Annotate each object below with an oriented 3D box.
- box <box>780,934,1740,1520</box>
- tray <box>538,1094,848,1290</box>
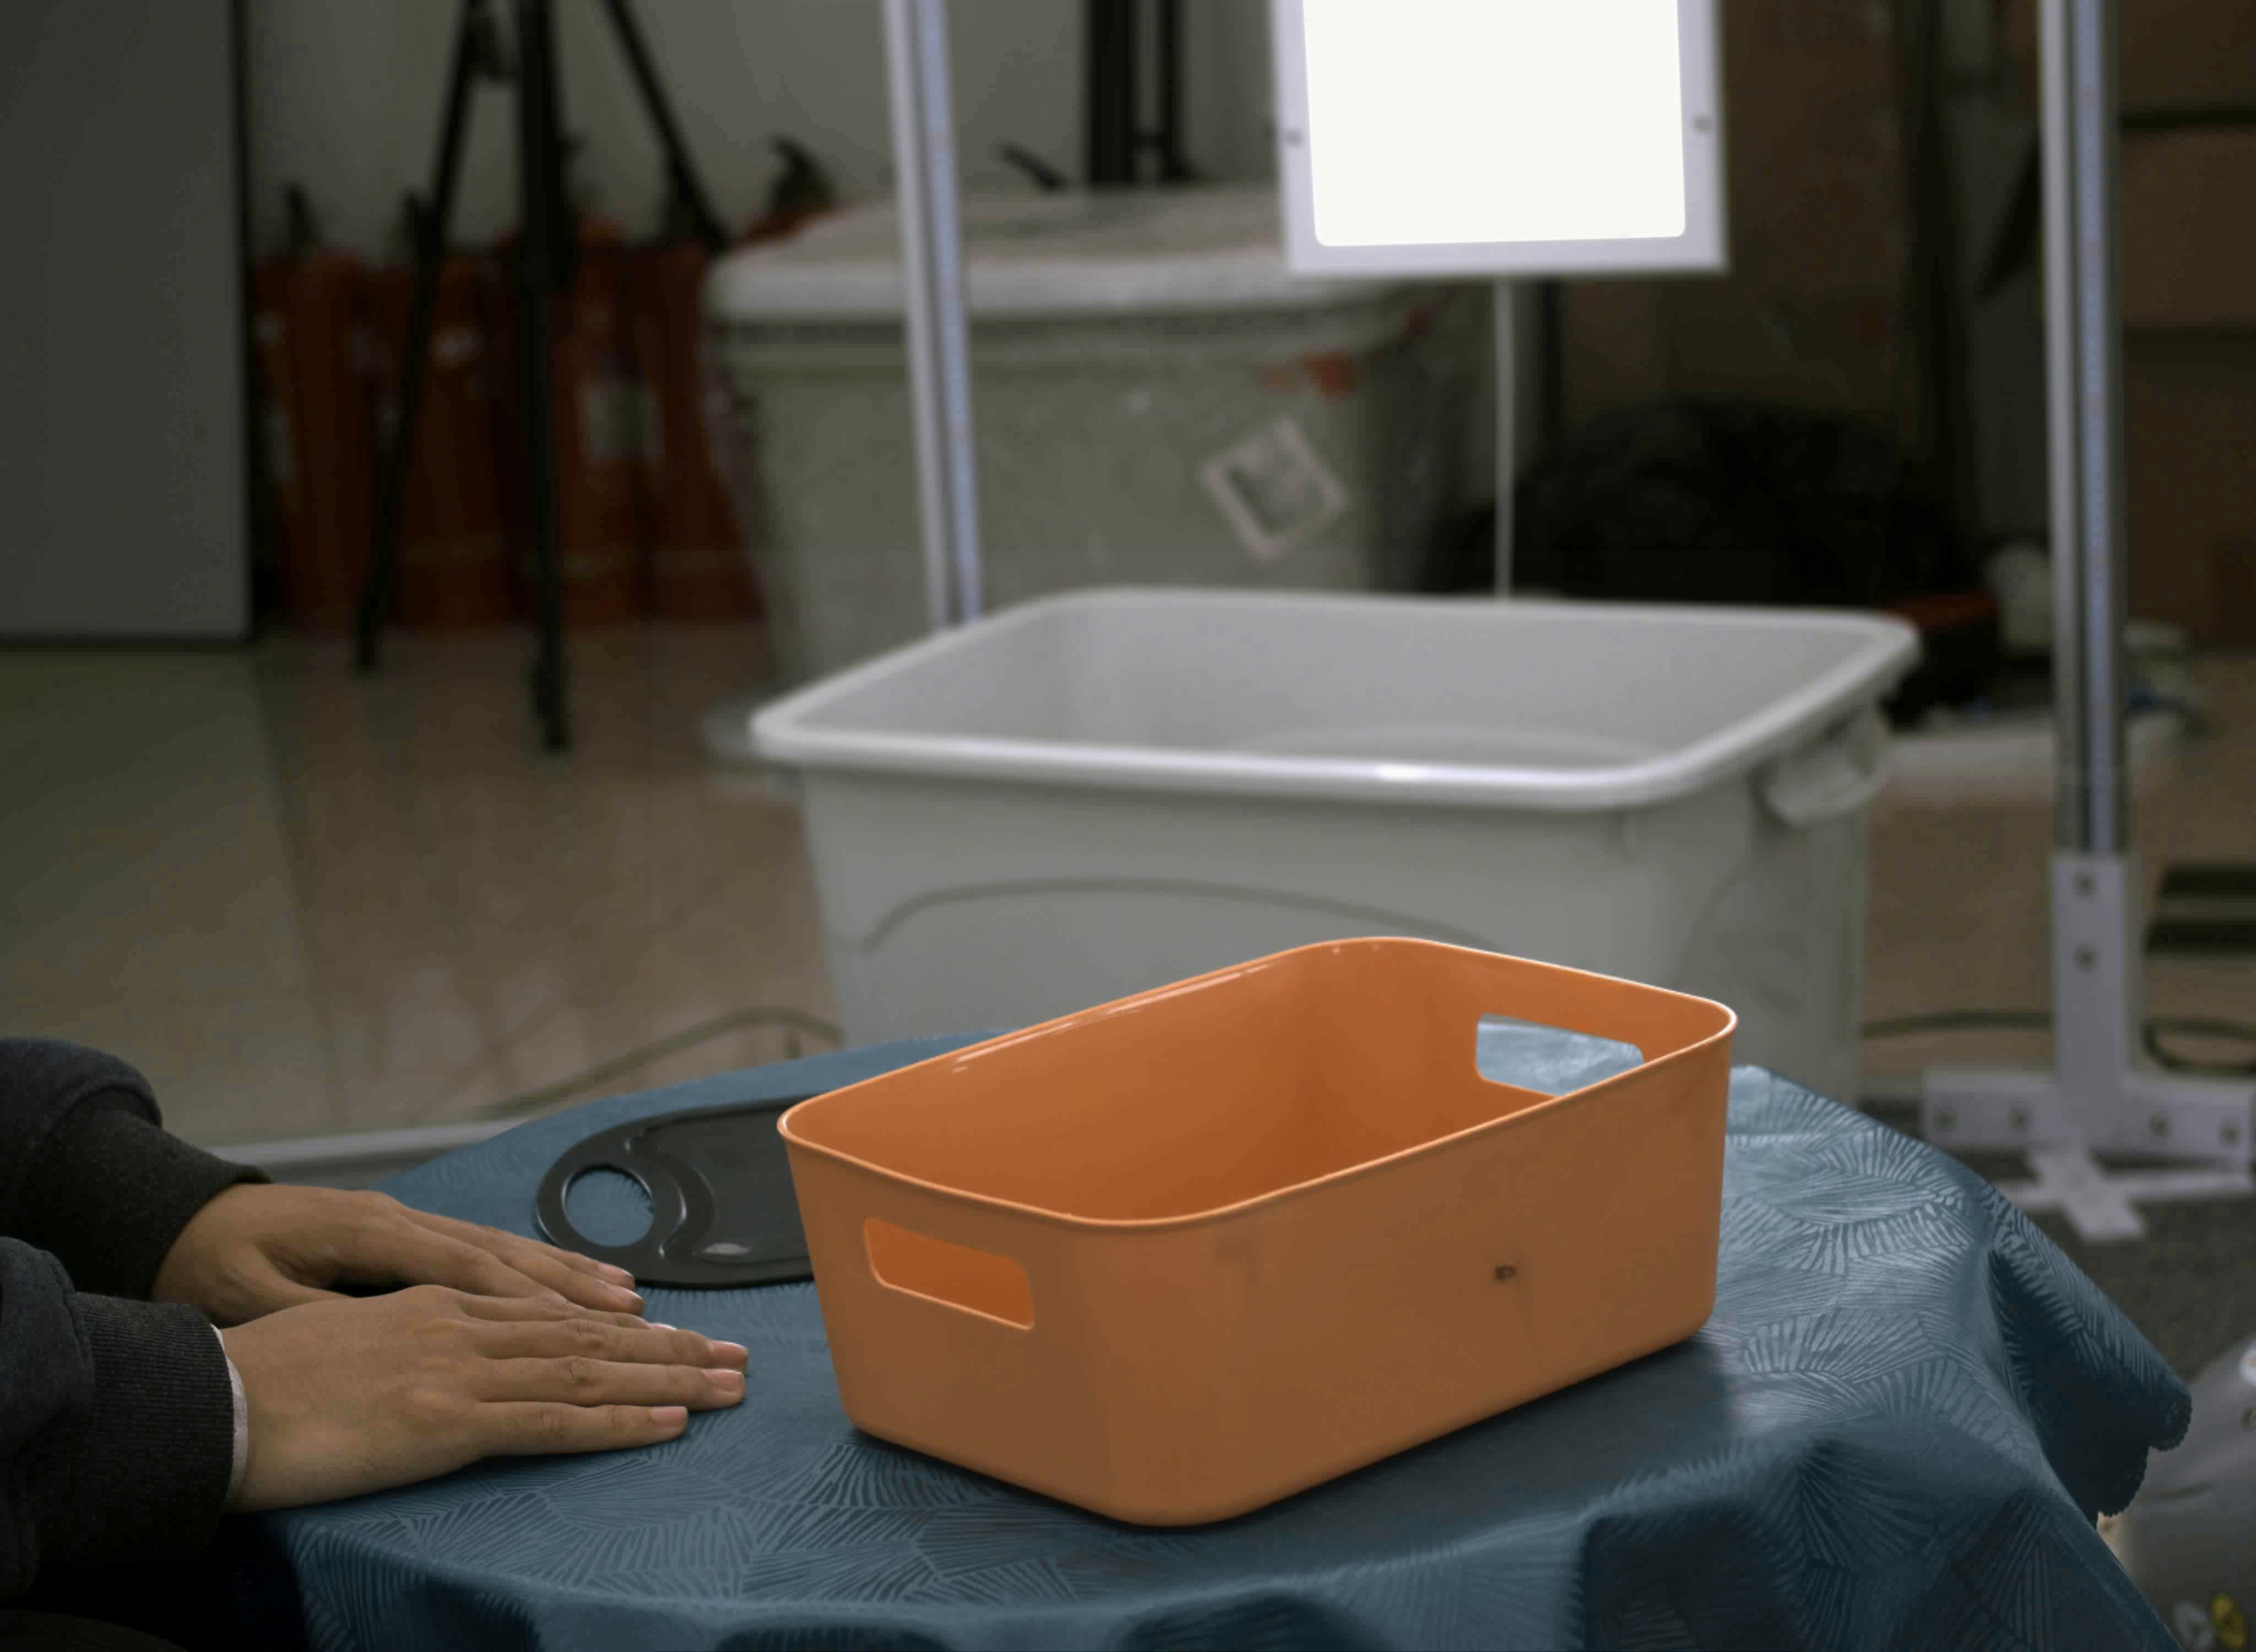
[{"bbox_3d":[0.044,0.119,1.689,0.266,0.103,0.203,-15,17,-38],"label":"box"},{"bbox_3d":[-0.046,0.117,1.941,0.322,0.010,0.212,-7,13,-7],"label":"tray"}]
